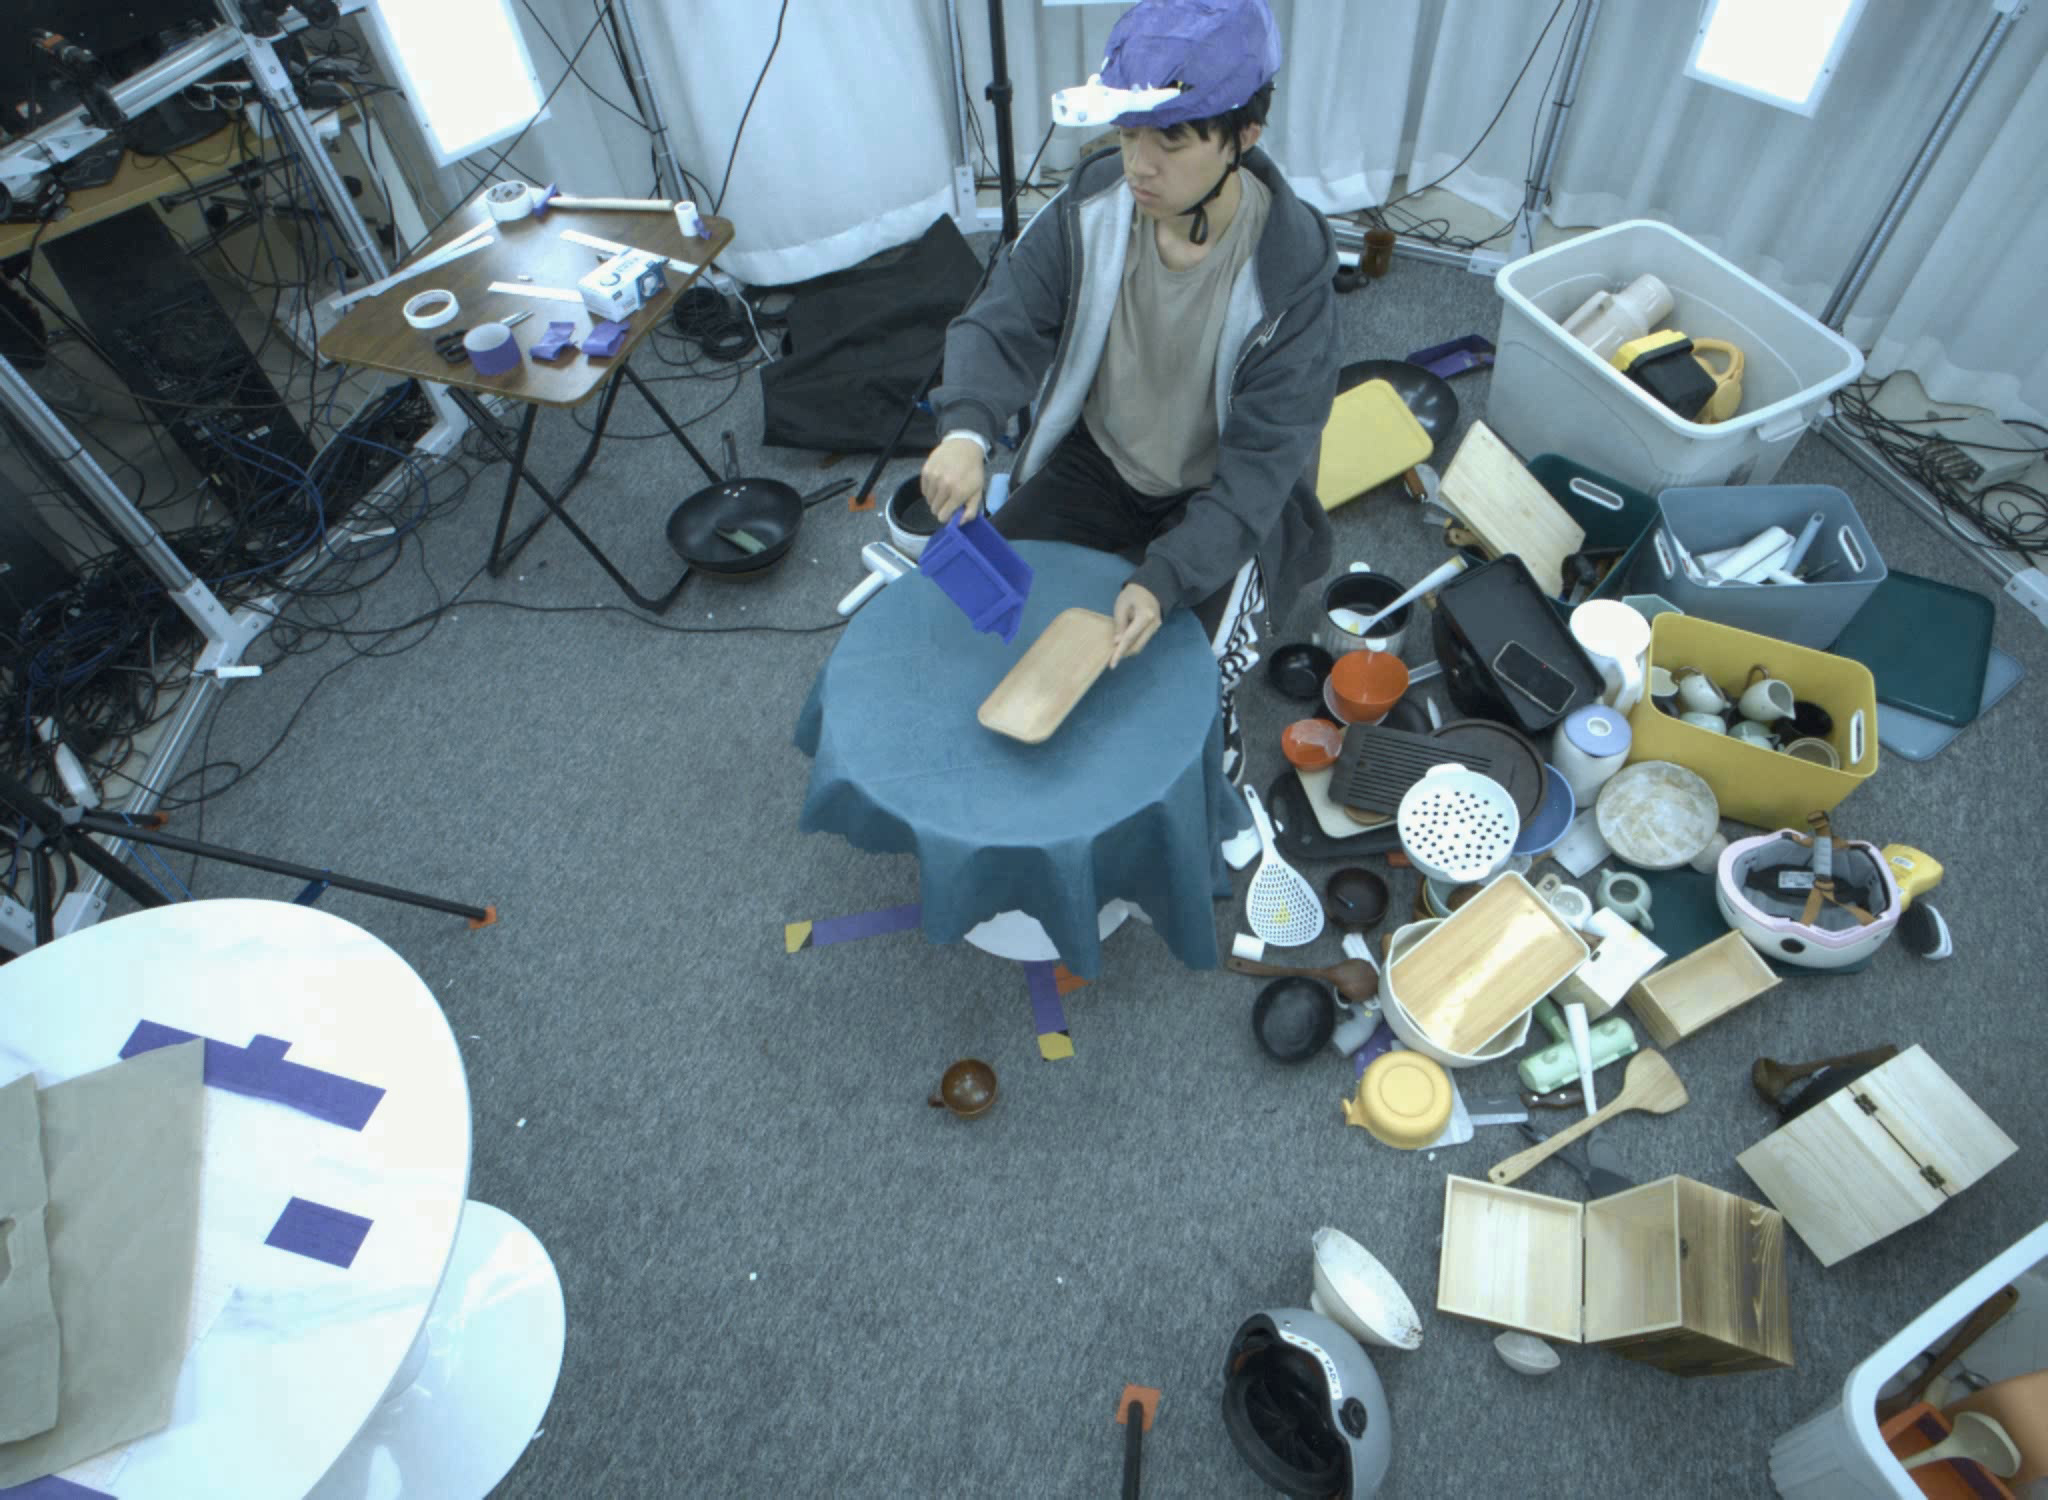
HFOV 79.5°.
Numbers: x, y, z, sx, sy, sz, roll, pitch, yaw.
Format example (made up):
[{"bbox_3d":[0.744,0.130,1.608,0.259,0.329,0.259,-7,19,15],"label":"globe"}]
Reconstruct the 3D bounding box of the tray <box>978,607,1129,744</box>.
[{"bbox_3d":[0.044,-0.111,1.789,0.128,0.023,0.251,24,61,30],"label":"tray"}]

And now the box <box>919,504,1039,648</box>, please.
[{"bbox_3d":[-0.056,-0.242,1.725,0.181,0.081,0.124,43,27,-15],"label":"box"}]
